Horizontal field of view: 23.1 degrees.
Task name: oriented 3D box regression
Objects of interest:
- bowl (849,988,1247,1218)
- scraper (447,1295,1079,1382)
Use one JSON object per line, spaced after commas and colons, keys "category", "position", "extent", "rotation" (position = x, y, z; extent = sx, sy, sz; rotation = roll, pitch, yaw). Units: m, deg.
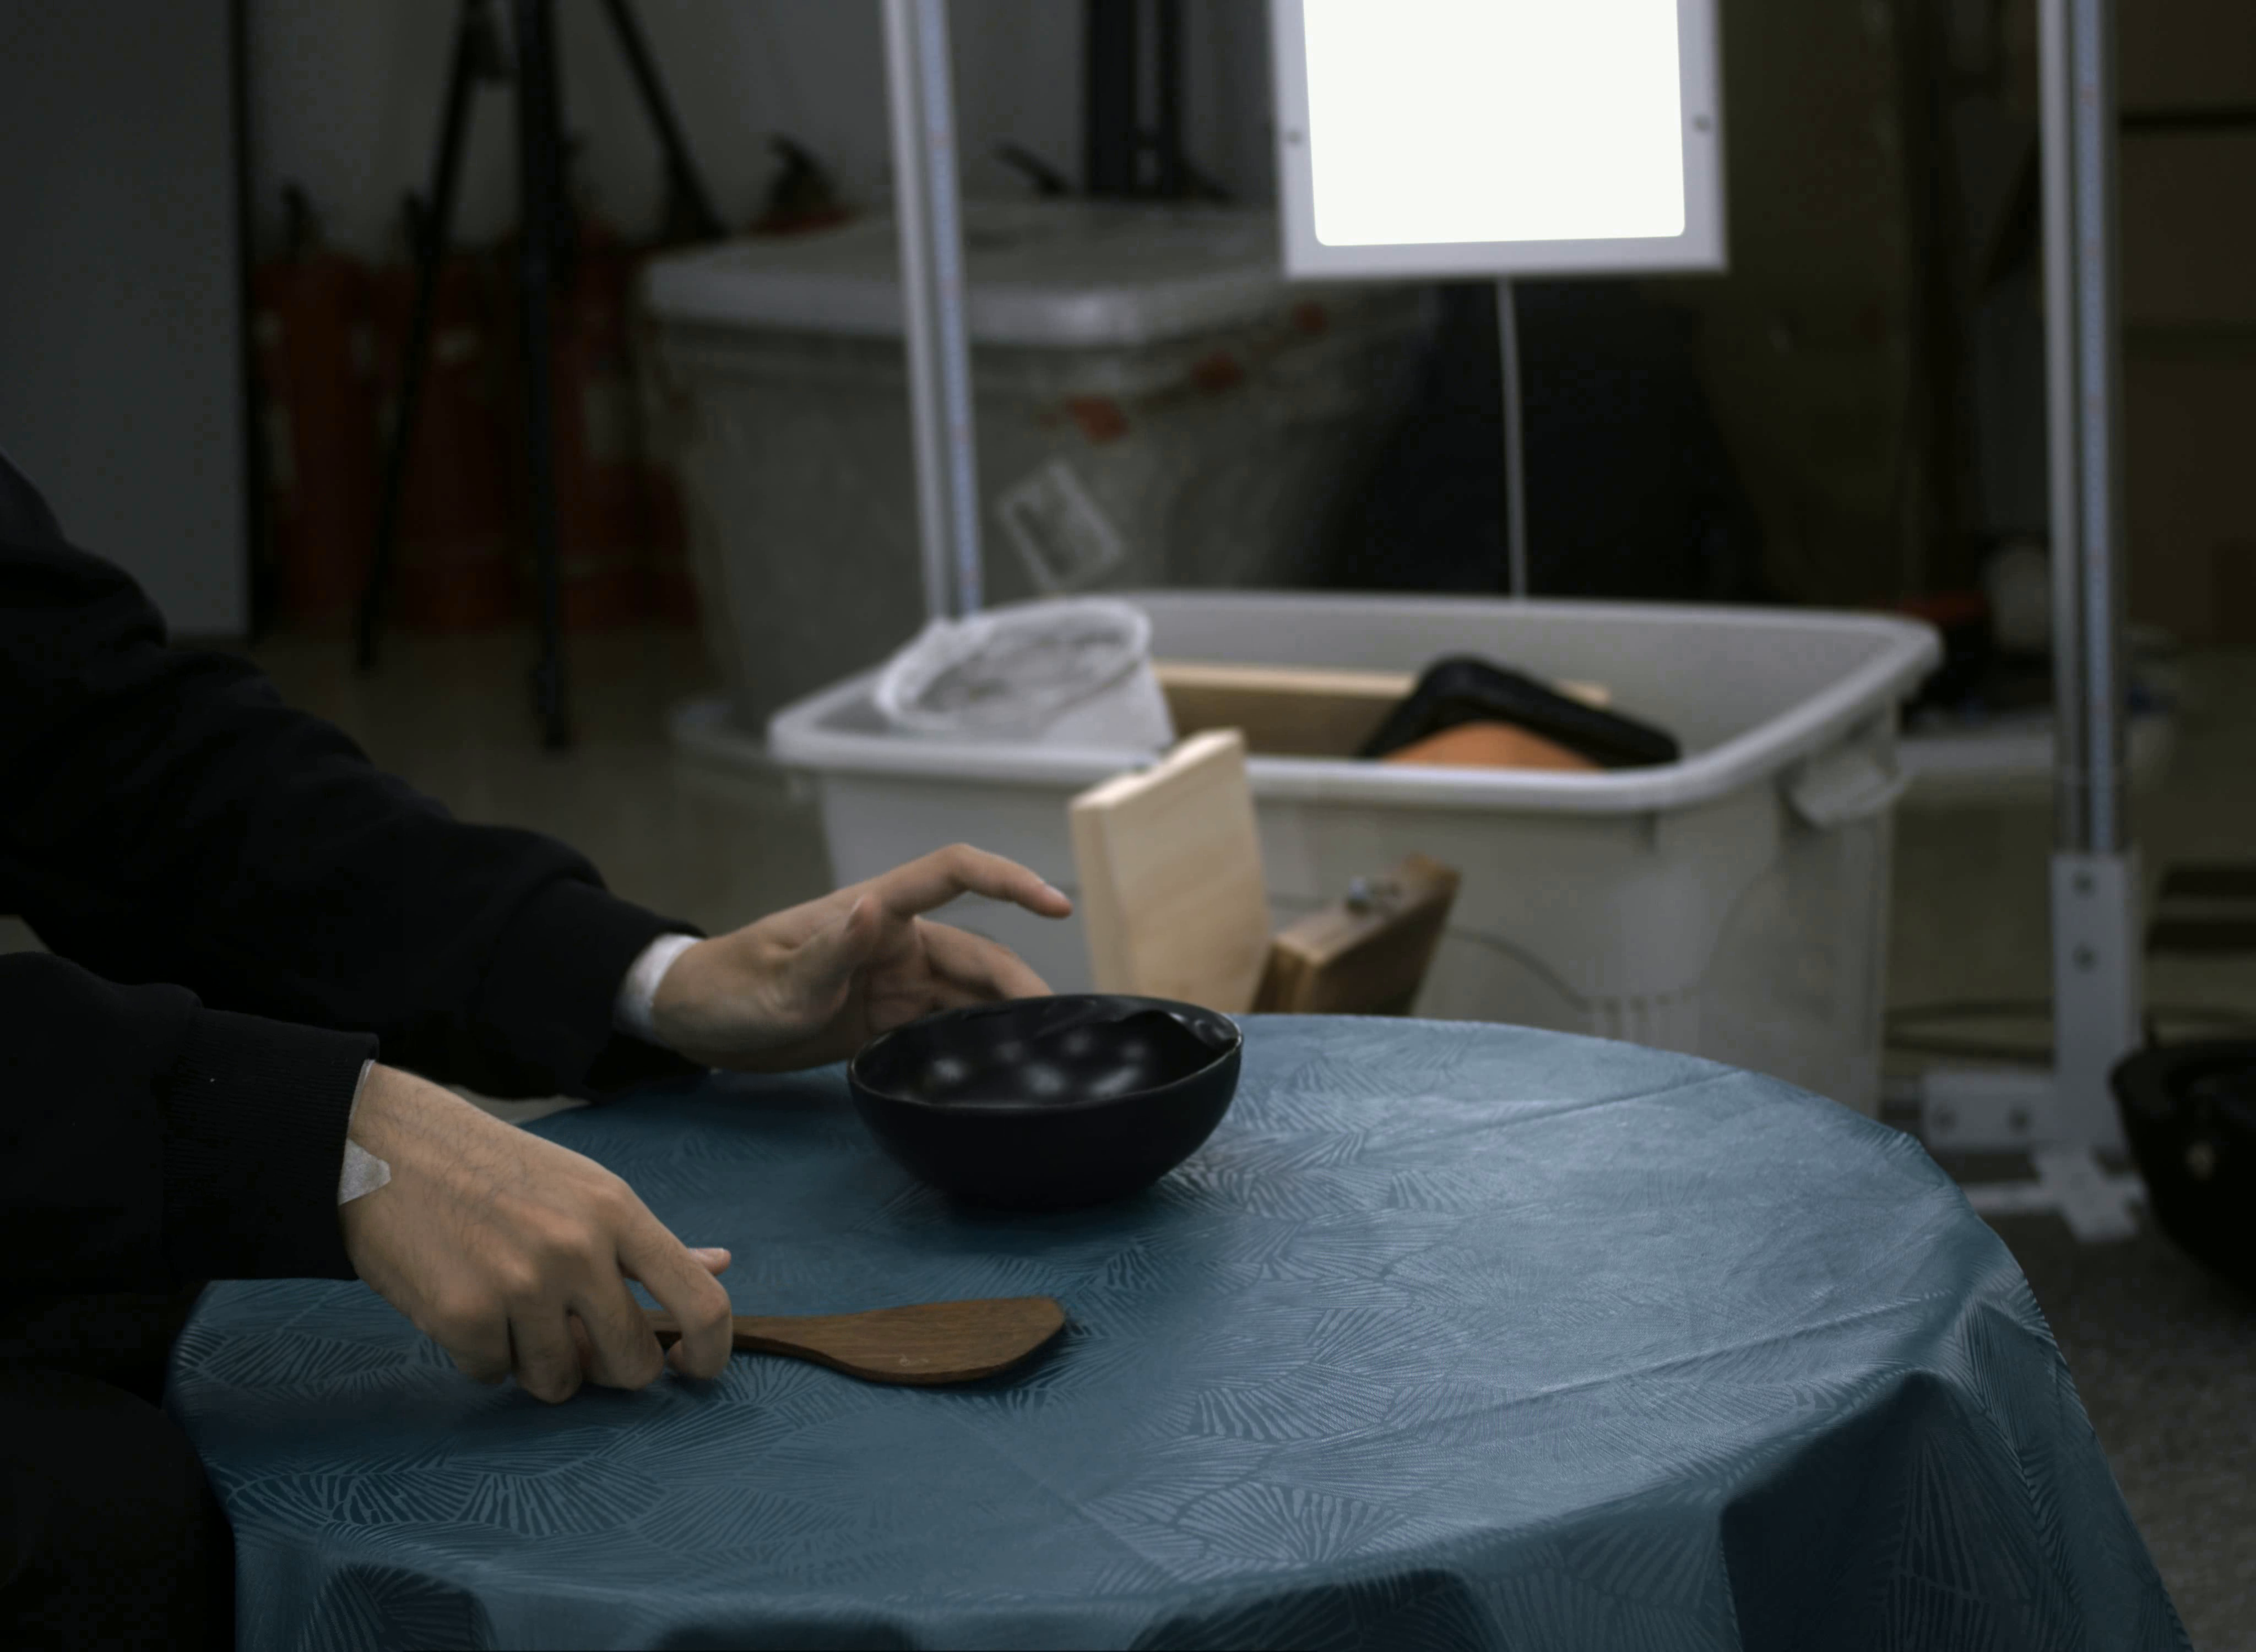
{"category": "bowl", "position": [-0.025, 0.101, 1.912], "extent": [0.140, 0.050, 0.140], "rotation": [-7, 16, 1]}
{"category": "scraper", "position": [-0.120, 0.162, 1.776], "extent": [0.214, 0.011, 0.074], "rotation": [0, 13, 21]}
